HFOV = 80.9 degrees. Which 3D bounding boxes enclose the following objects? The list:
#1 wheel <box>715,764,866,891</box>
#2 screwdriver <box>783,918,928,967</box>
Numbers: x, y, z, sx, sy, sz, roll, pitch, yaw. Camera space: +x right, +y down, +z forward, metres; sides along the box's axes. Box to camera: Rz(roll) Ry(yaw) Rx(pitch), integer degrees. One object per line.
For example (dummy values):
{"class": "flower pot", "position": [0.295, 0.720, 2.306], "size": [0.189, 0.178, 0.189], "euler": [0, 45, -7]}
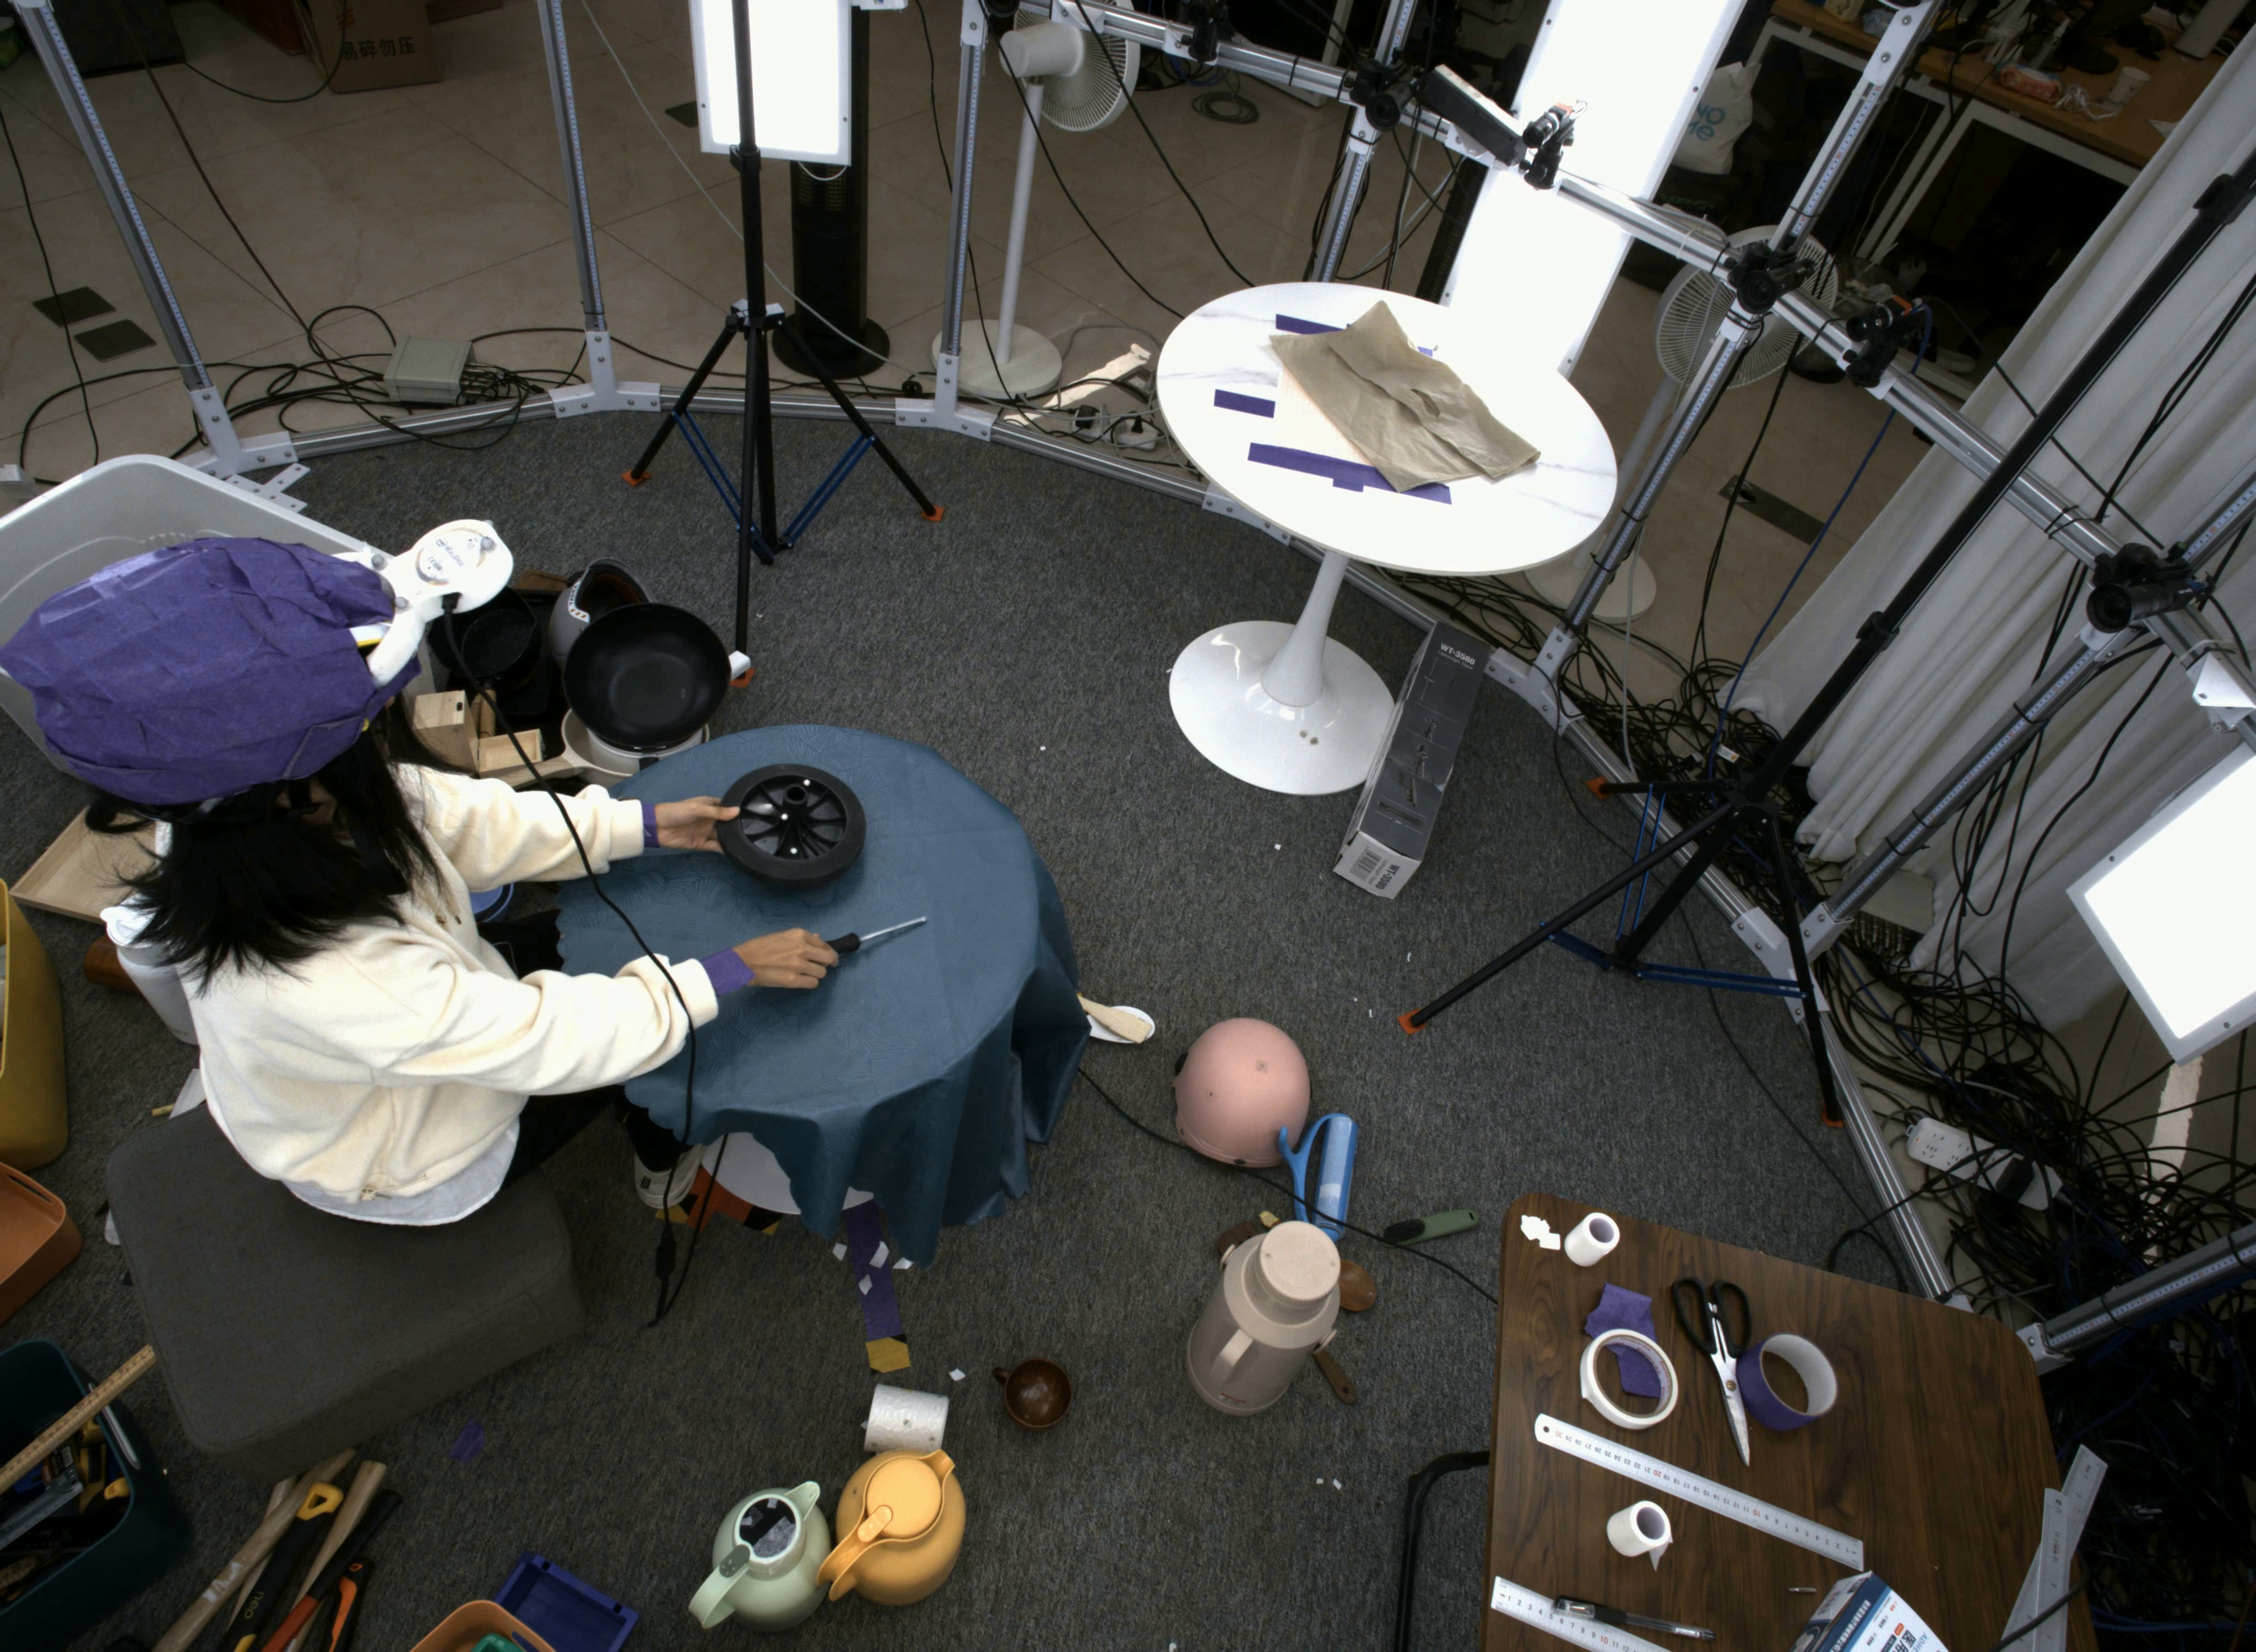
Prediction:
{"class": "wheel", "position": [-0.426, -0.014, 1.643], "size": [0.189, 0.080, 0.186], "euler": [26, 50, -2]}
{"class": "screwdriver", "position": [-0.337, 0.135, 1.614], "size": [0.198, 0.032, 0.030], "euler": [-18, 58, -36]}
